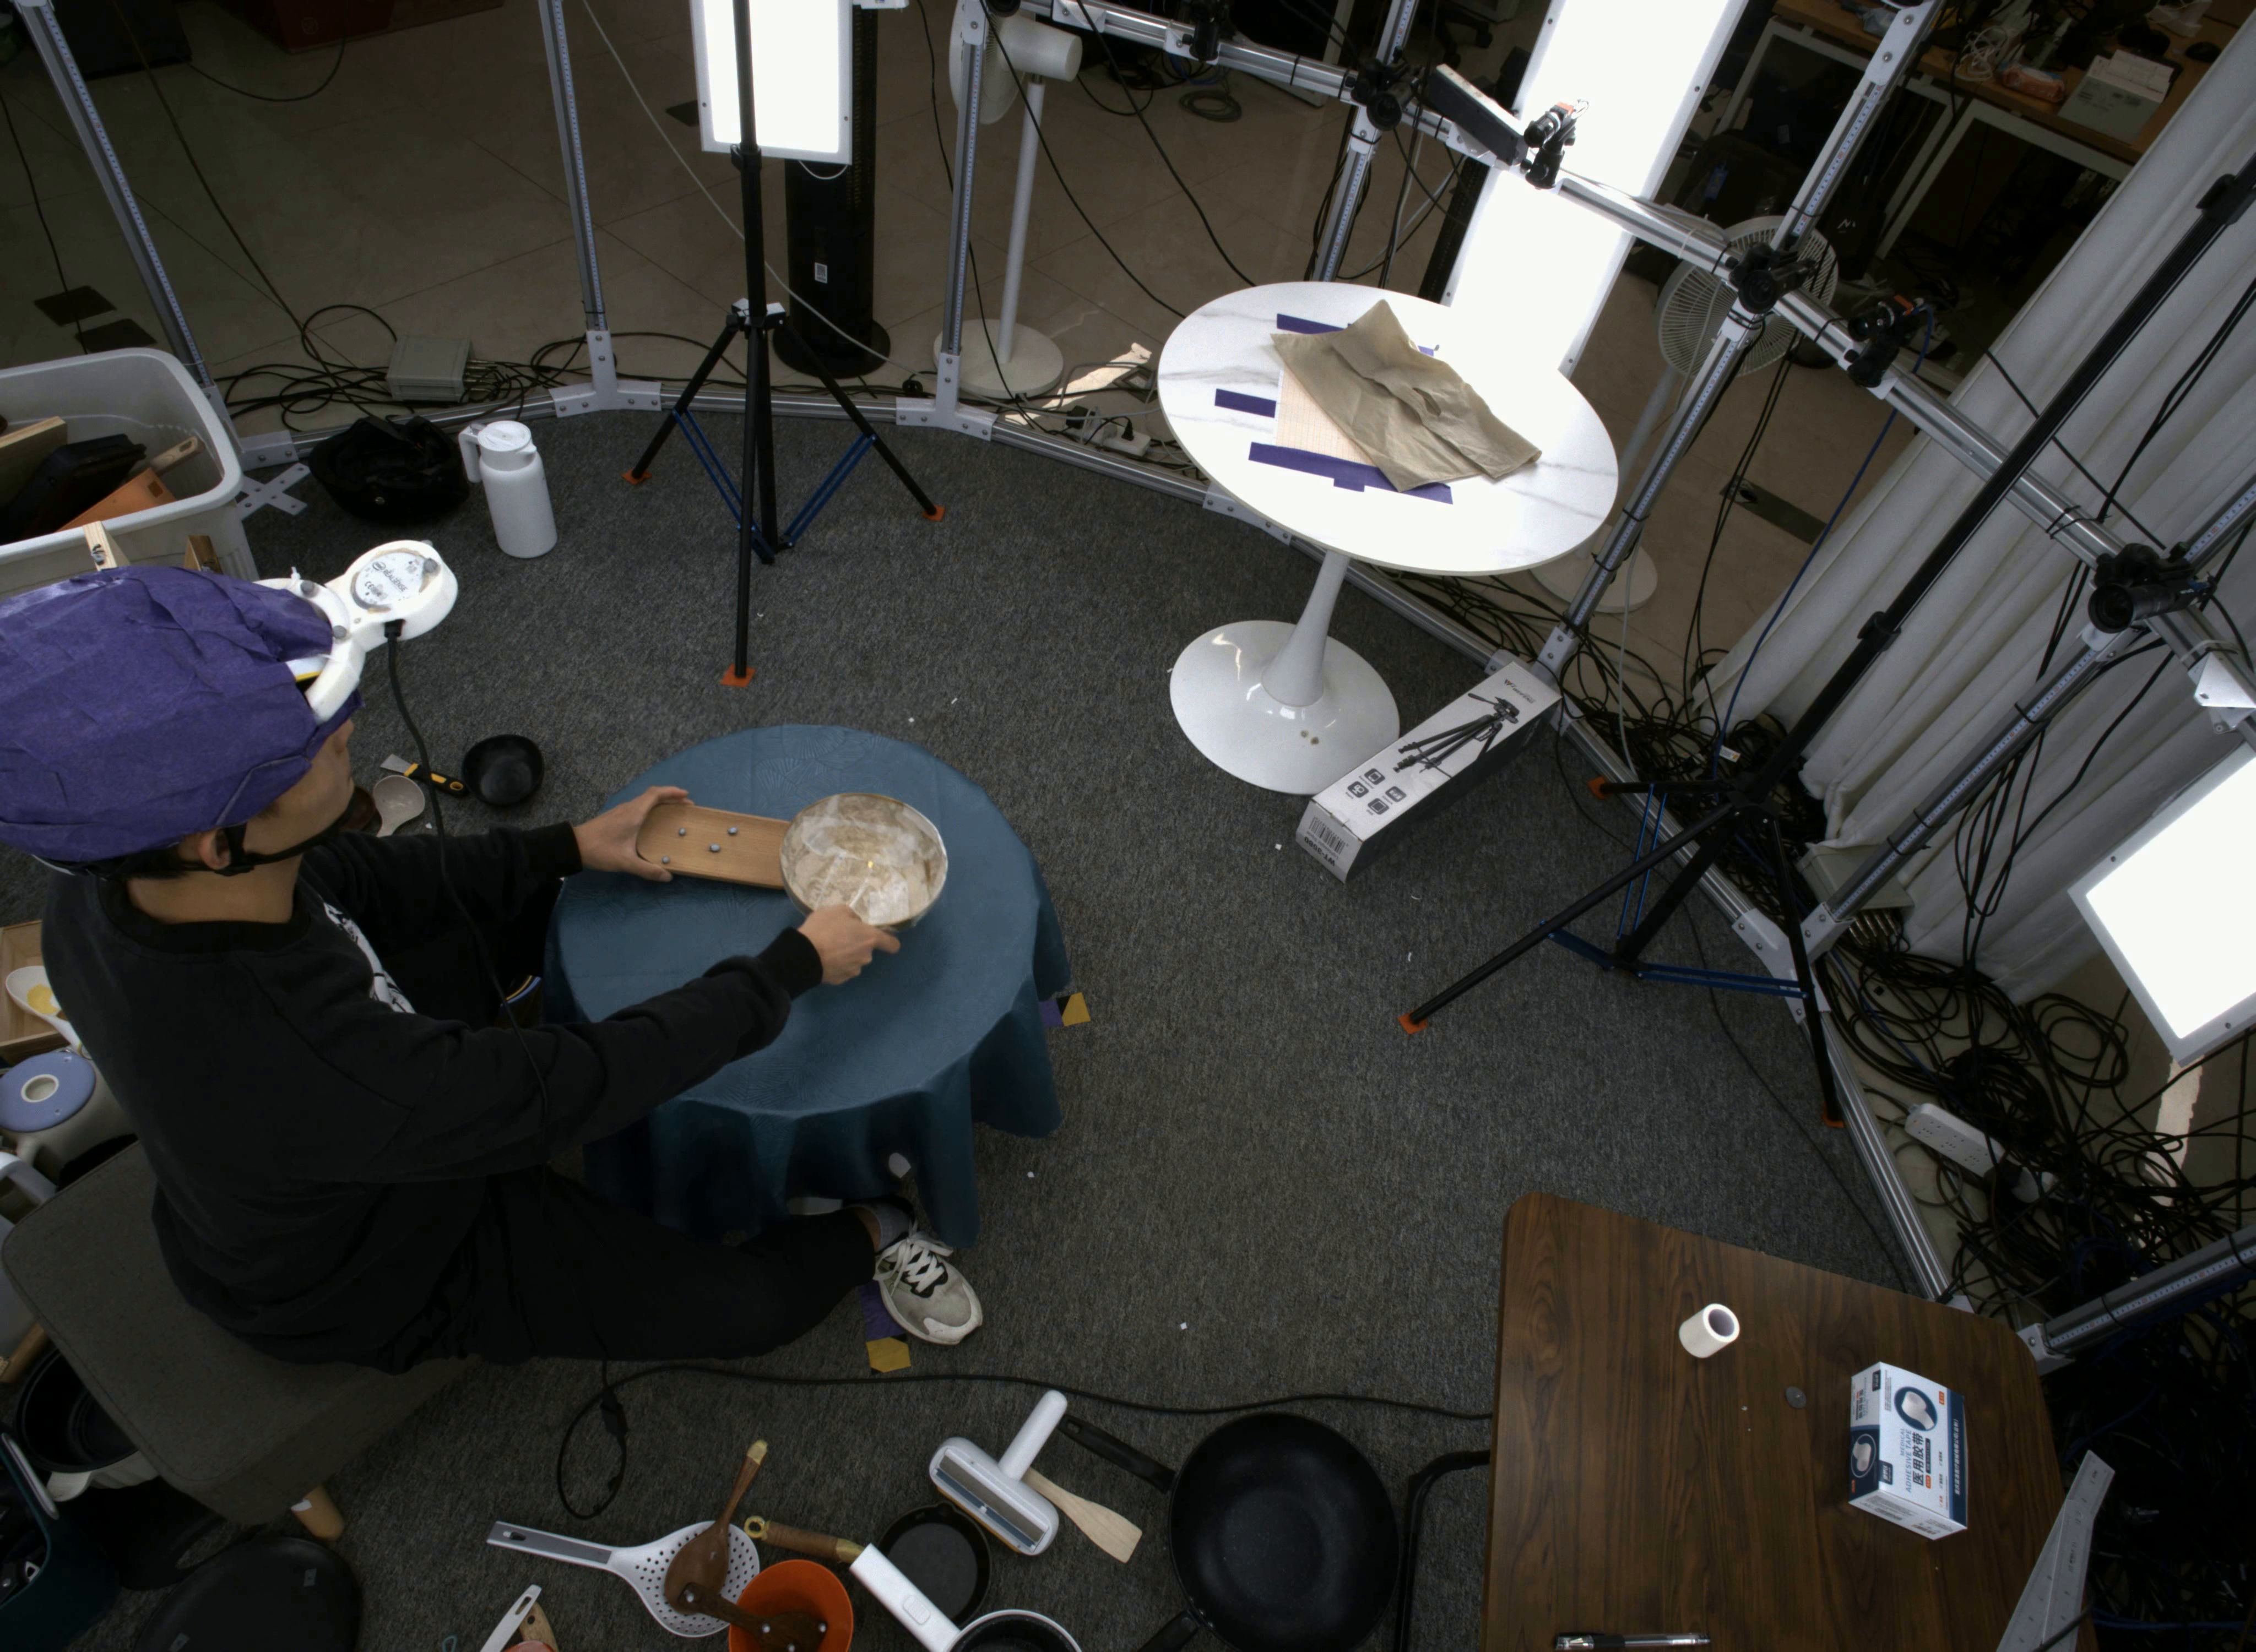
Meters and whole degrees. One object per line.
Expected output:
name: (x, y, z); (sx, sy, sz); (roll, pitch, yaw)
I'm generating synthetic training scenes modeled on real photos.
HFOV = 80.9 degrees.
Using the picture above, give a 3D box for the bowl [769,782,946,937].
bowl: (-0.336, 0.057, 1.608); (0.215, 0.096, 0.211); (10, 53, -12)

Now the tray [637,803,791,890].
tray: (-0.511, 0.026, 1.654); (0.234, 0.020, 0.100); (10, 57, -22)
